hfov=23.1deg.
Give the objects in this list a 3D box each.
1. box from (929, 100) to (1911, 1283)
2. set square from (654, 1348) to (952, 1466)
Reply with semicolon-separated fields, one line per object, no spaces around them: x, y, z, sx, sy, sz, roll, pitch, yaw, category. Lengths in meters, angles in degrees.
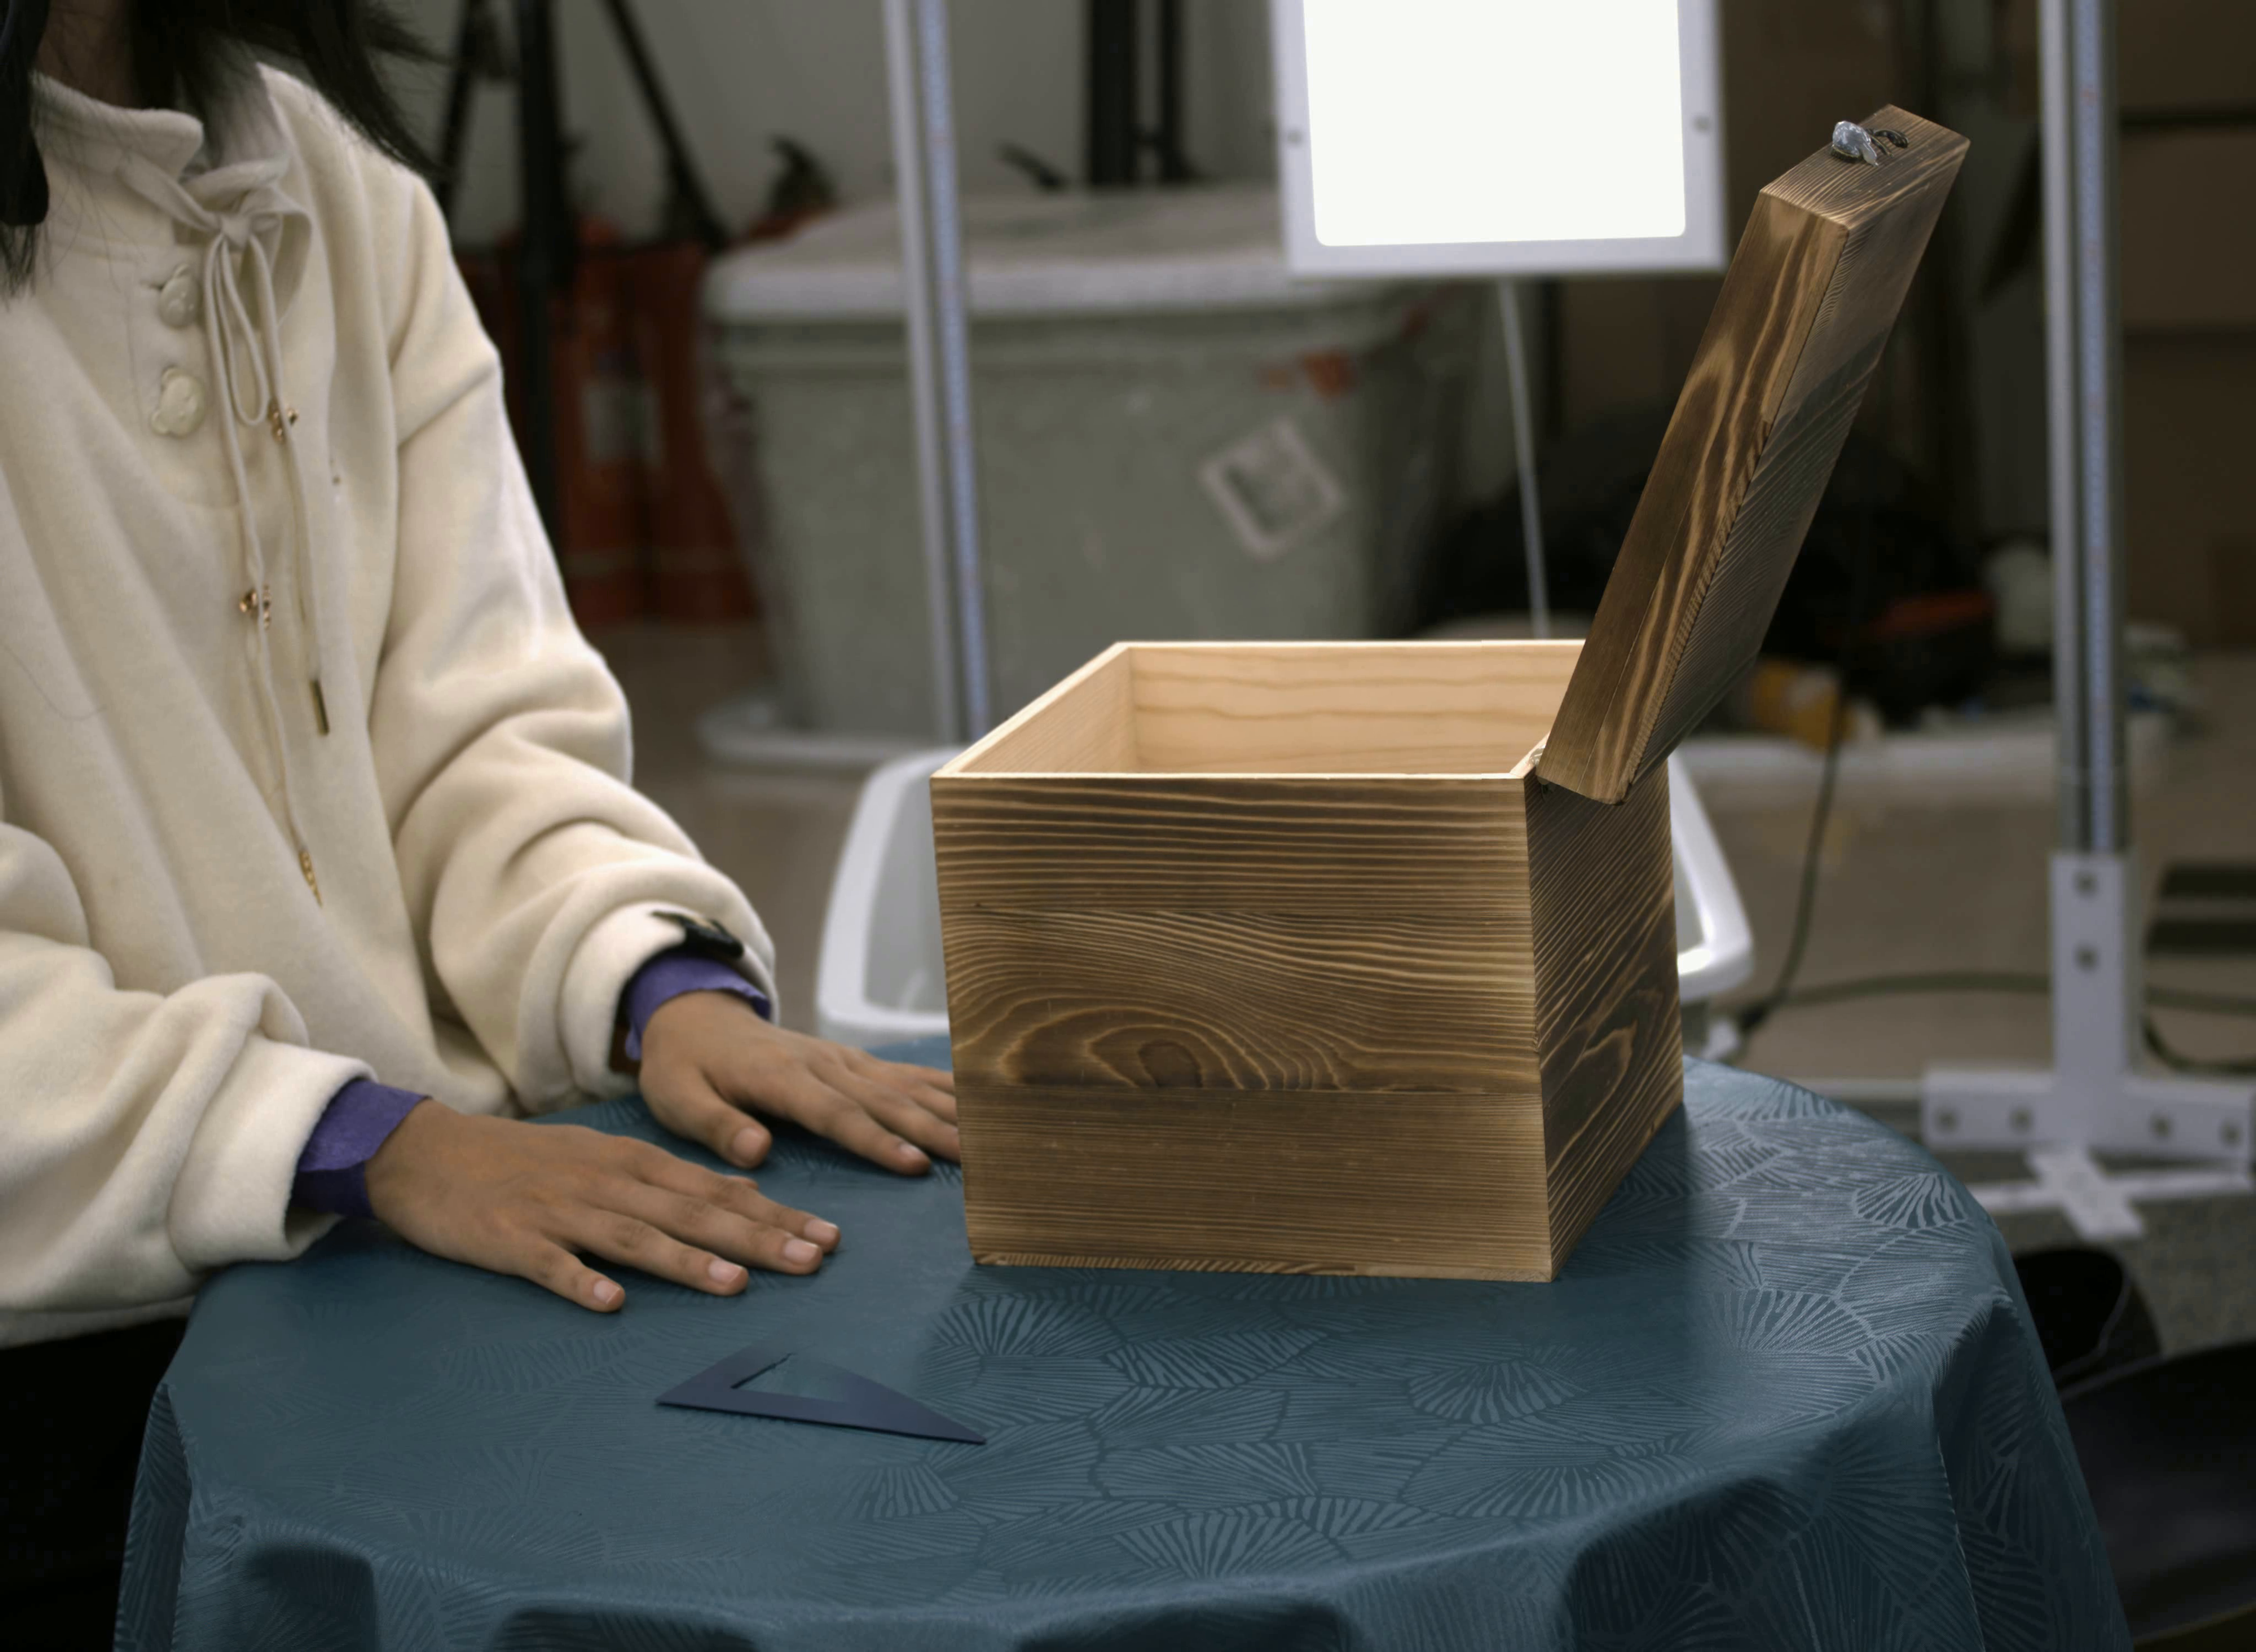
0.110;-0.051;1.831;0.326;0.377;0.205;1;14;20;box
-0.104;0.182;1.702;0.060;0.006;0.134;-9;14;-25;set square
